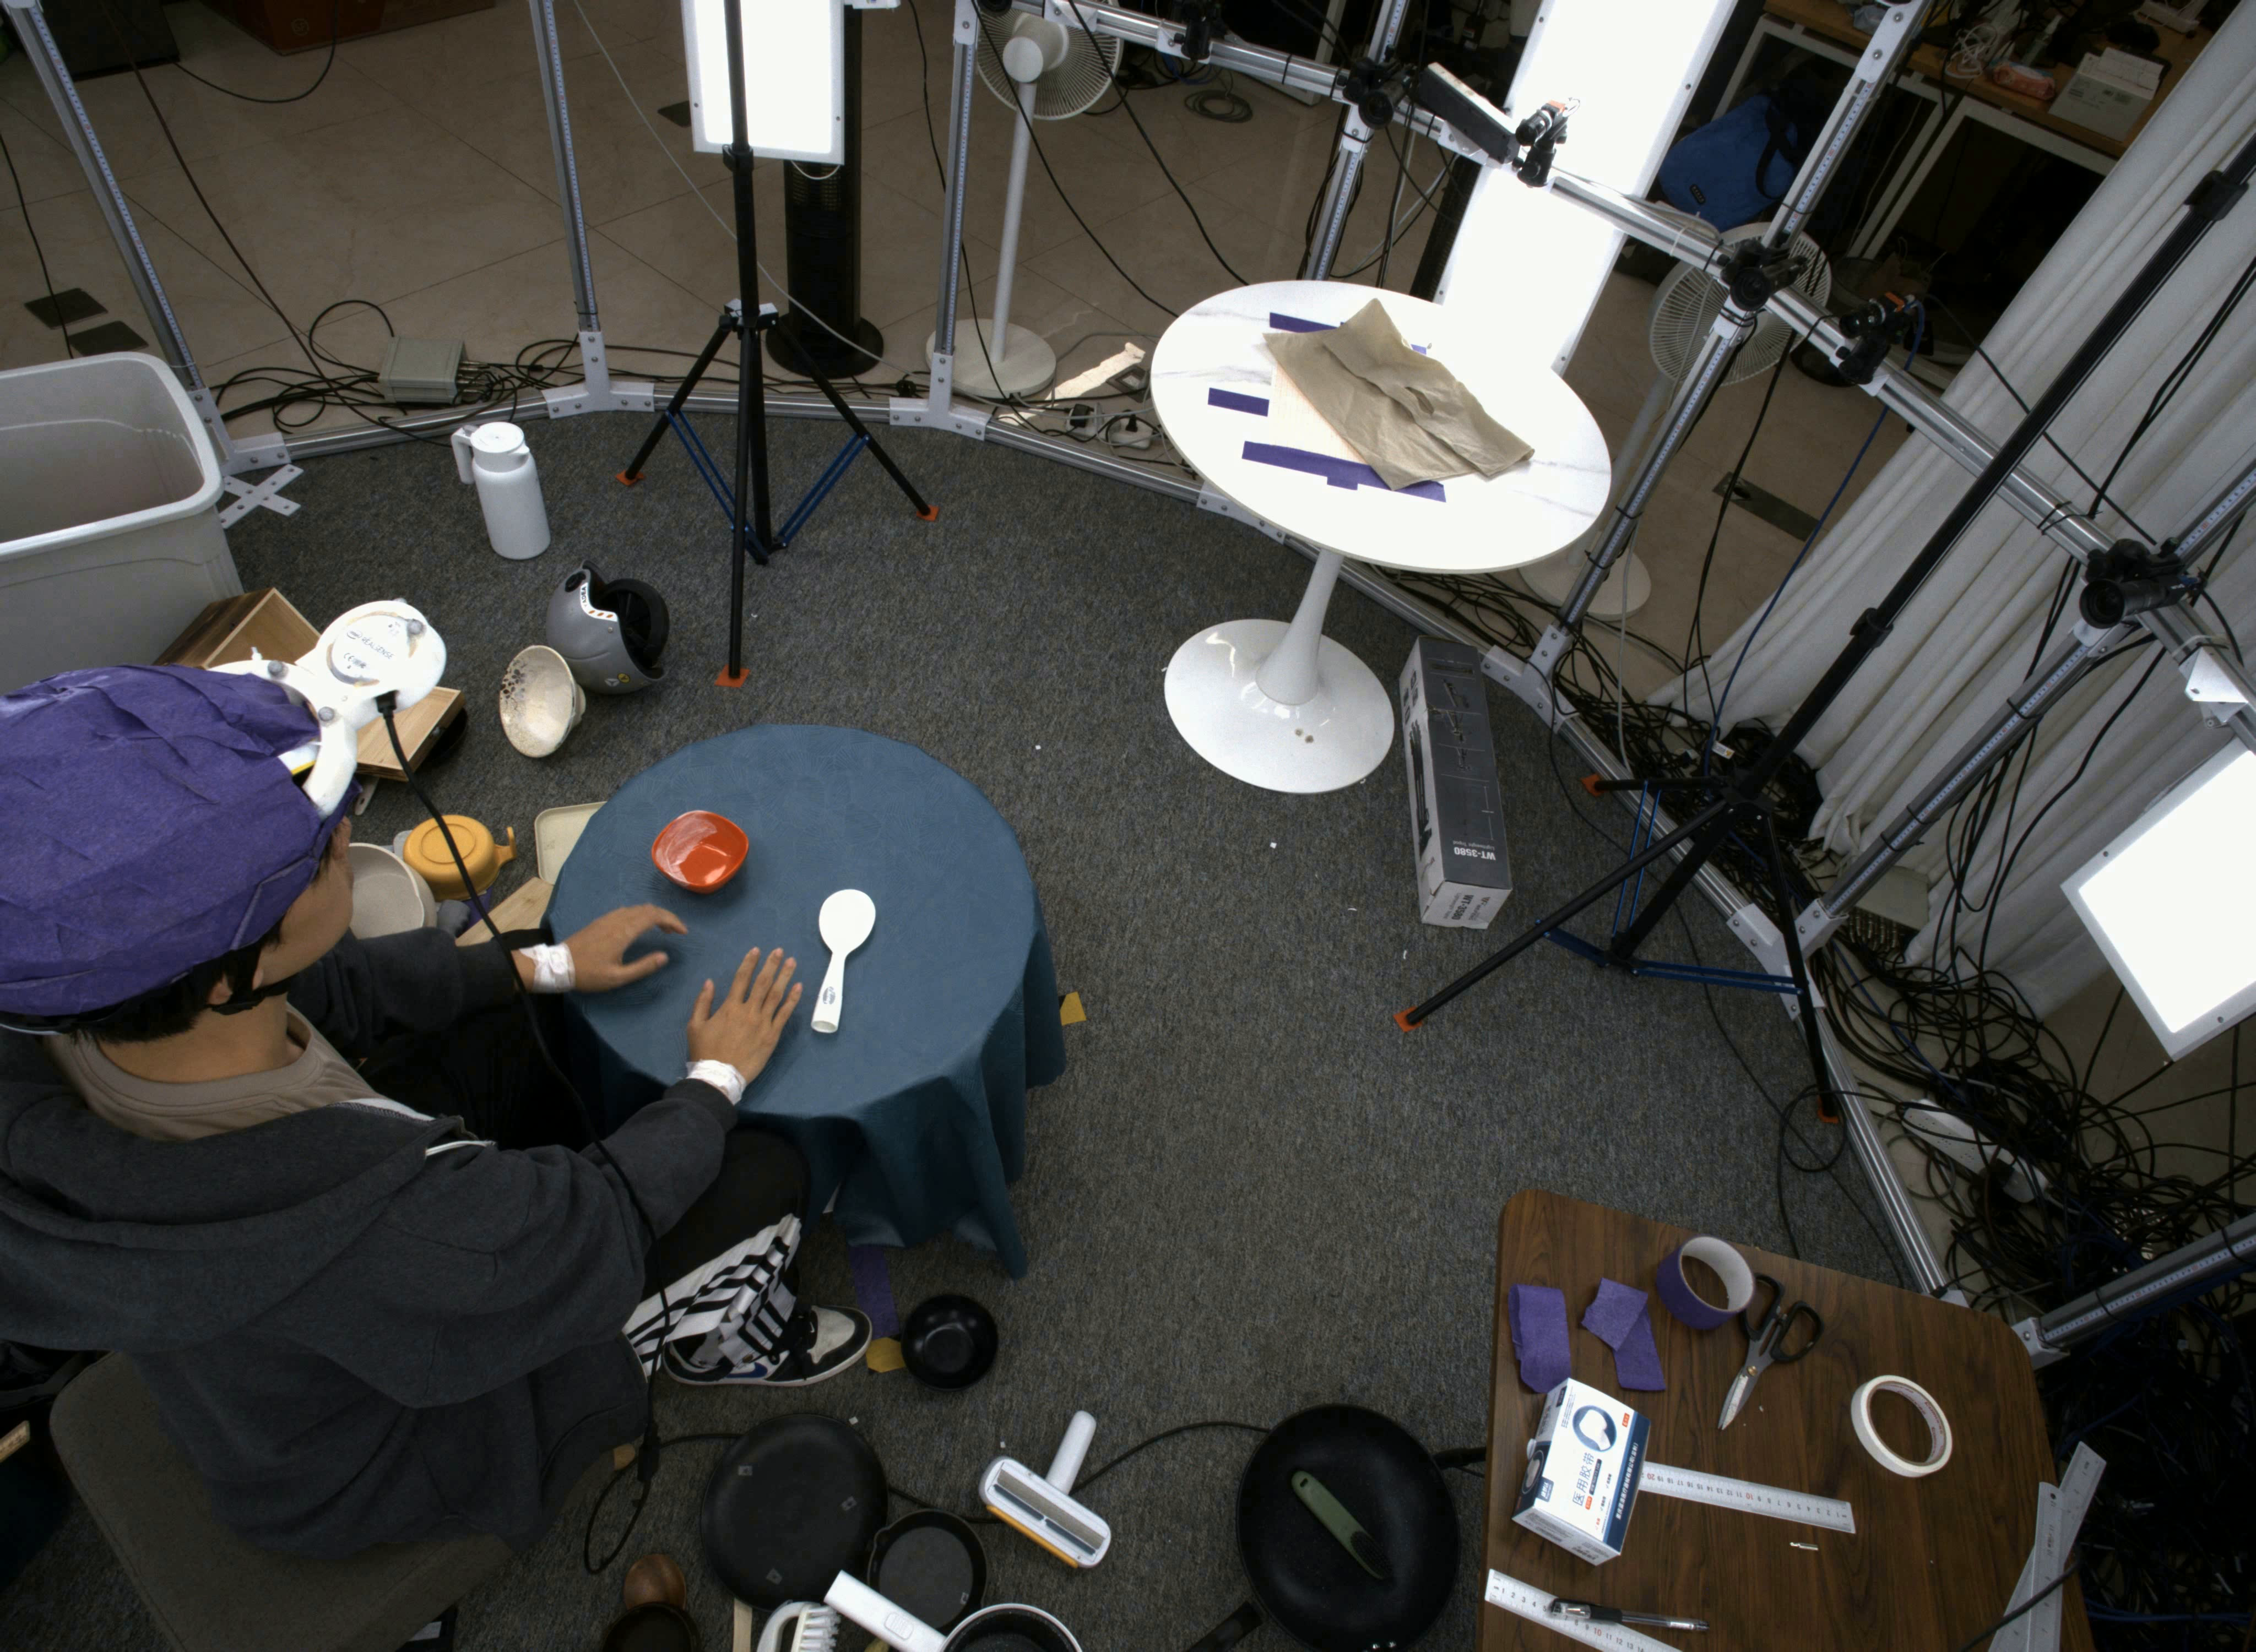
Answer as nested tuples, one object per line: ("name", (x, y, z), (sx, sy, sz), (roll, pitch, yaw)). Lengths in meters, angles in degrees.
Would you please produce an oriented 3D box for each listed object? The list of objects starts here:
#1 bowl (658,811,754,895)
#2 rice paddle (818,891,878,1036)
("bowl", (-0.533, 0.040, 1.636), (0.118, 0.052, 0.117), (8, 51, -8))
("rice paddle", (-0.353, 0.160, 1.608), (0.069, 0.030, 0.201), (9, 52, -9))
